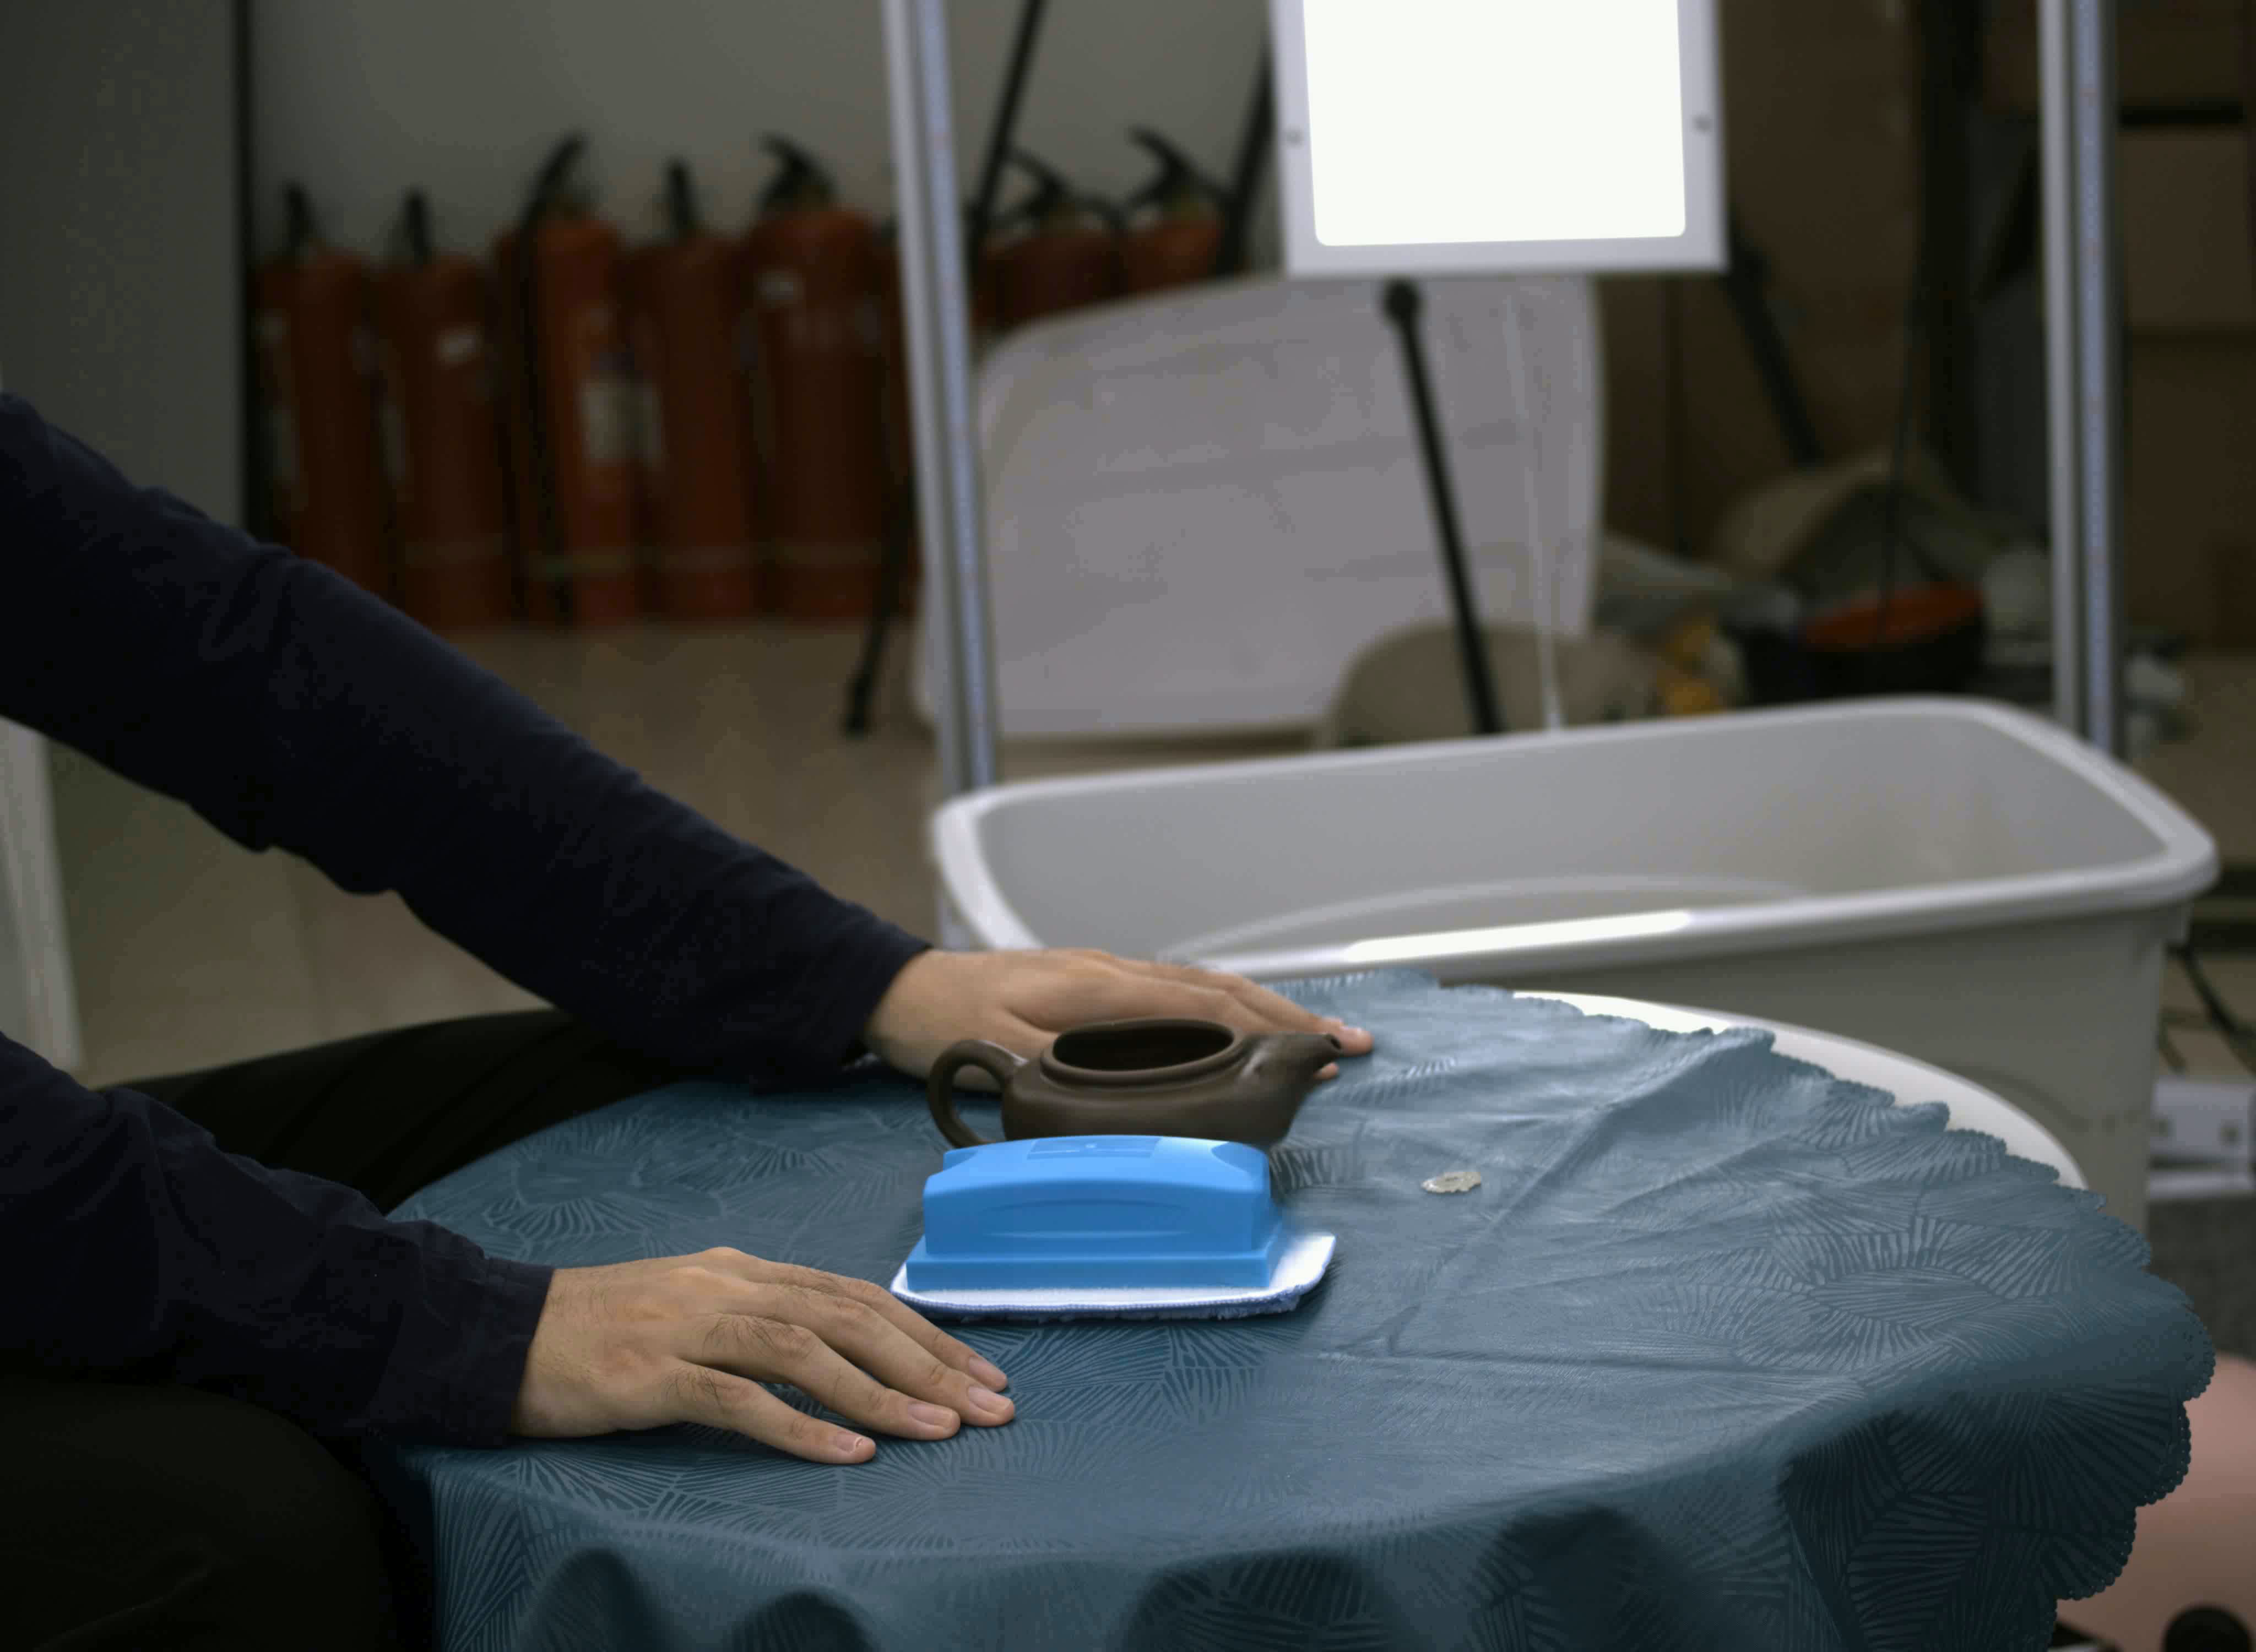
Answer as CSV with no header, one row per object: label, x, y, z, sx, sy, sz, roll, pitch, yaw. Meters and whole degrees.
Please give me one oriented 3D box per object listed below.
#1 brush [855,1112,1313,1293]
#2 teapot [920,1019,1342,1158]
brush,-0.014,0.123,1.792,0.145,0.056,0.082,1,12,15
teapot,0.002,0.097,1.909,0.155,0.054,0.101,-1,12,15
